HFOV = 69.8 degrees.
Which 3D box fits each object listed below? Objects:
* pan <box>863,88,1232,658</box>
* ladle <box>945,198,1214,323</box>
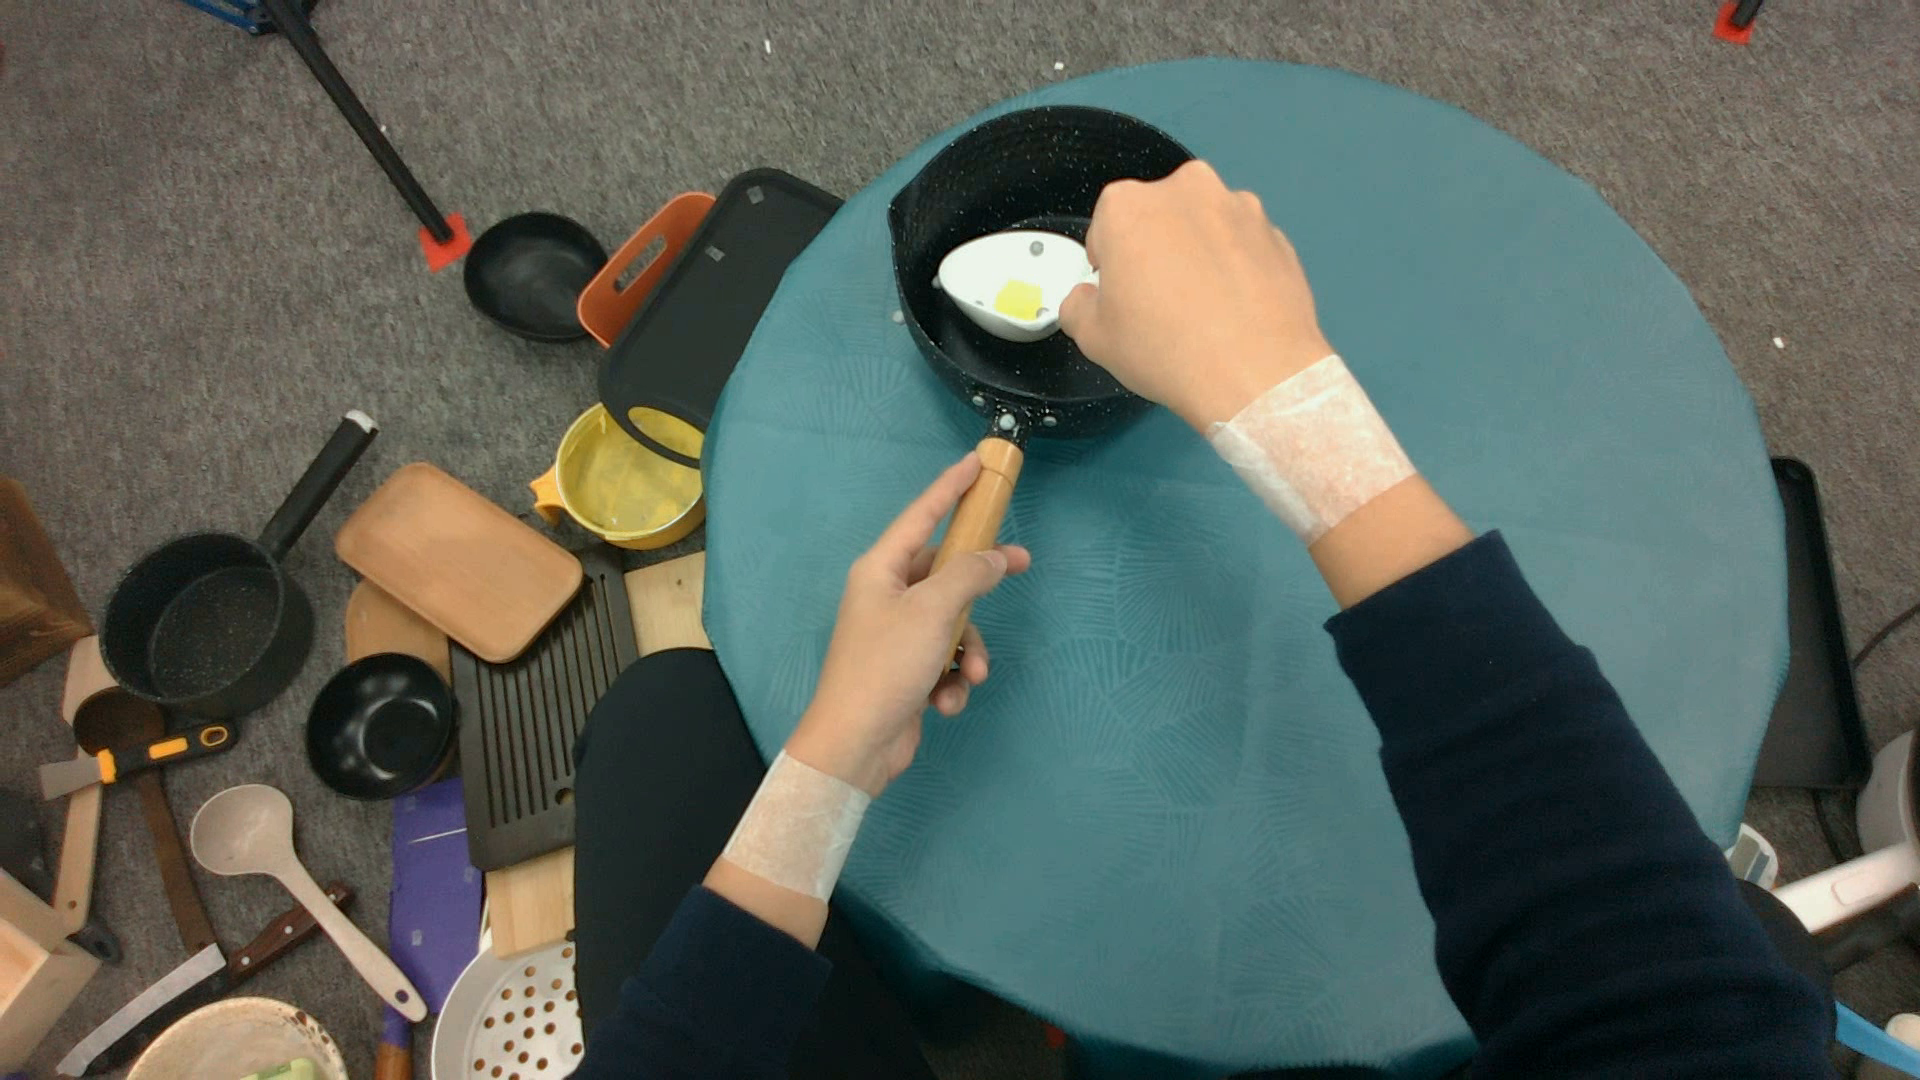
[{"bbox_3d":[0.027,-0.084,0.739,0.207,0.108,0.344,14,69,6],"label":"pan"},{"bbox_3d":[0.058,-0.145,0.687,0.090,0.293,0.070,0,99,-12],"label":"ladle"}]
